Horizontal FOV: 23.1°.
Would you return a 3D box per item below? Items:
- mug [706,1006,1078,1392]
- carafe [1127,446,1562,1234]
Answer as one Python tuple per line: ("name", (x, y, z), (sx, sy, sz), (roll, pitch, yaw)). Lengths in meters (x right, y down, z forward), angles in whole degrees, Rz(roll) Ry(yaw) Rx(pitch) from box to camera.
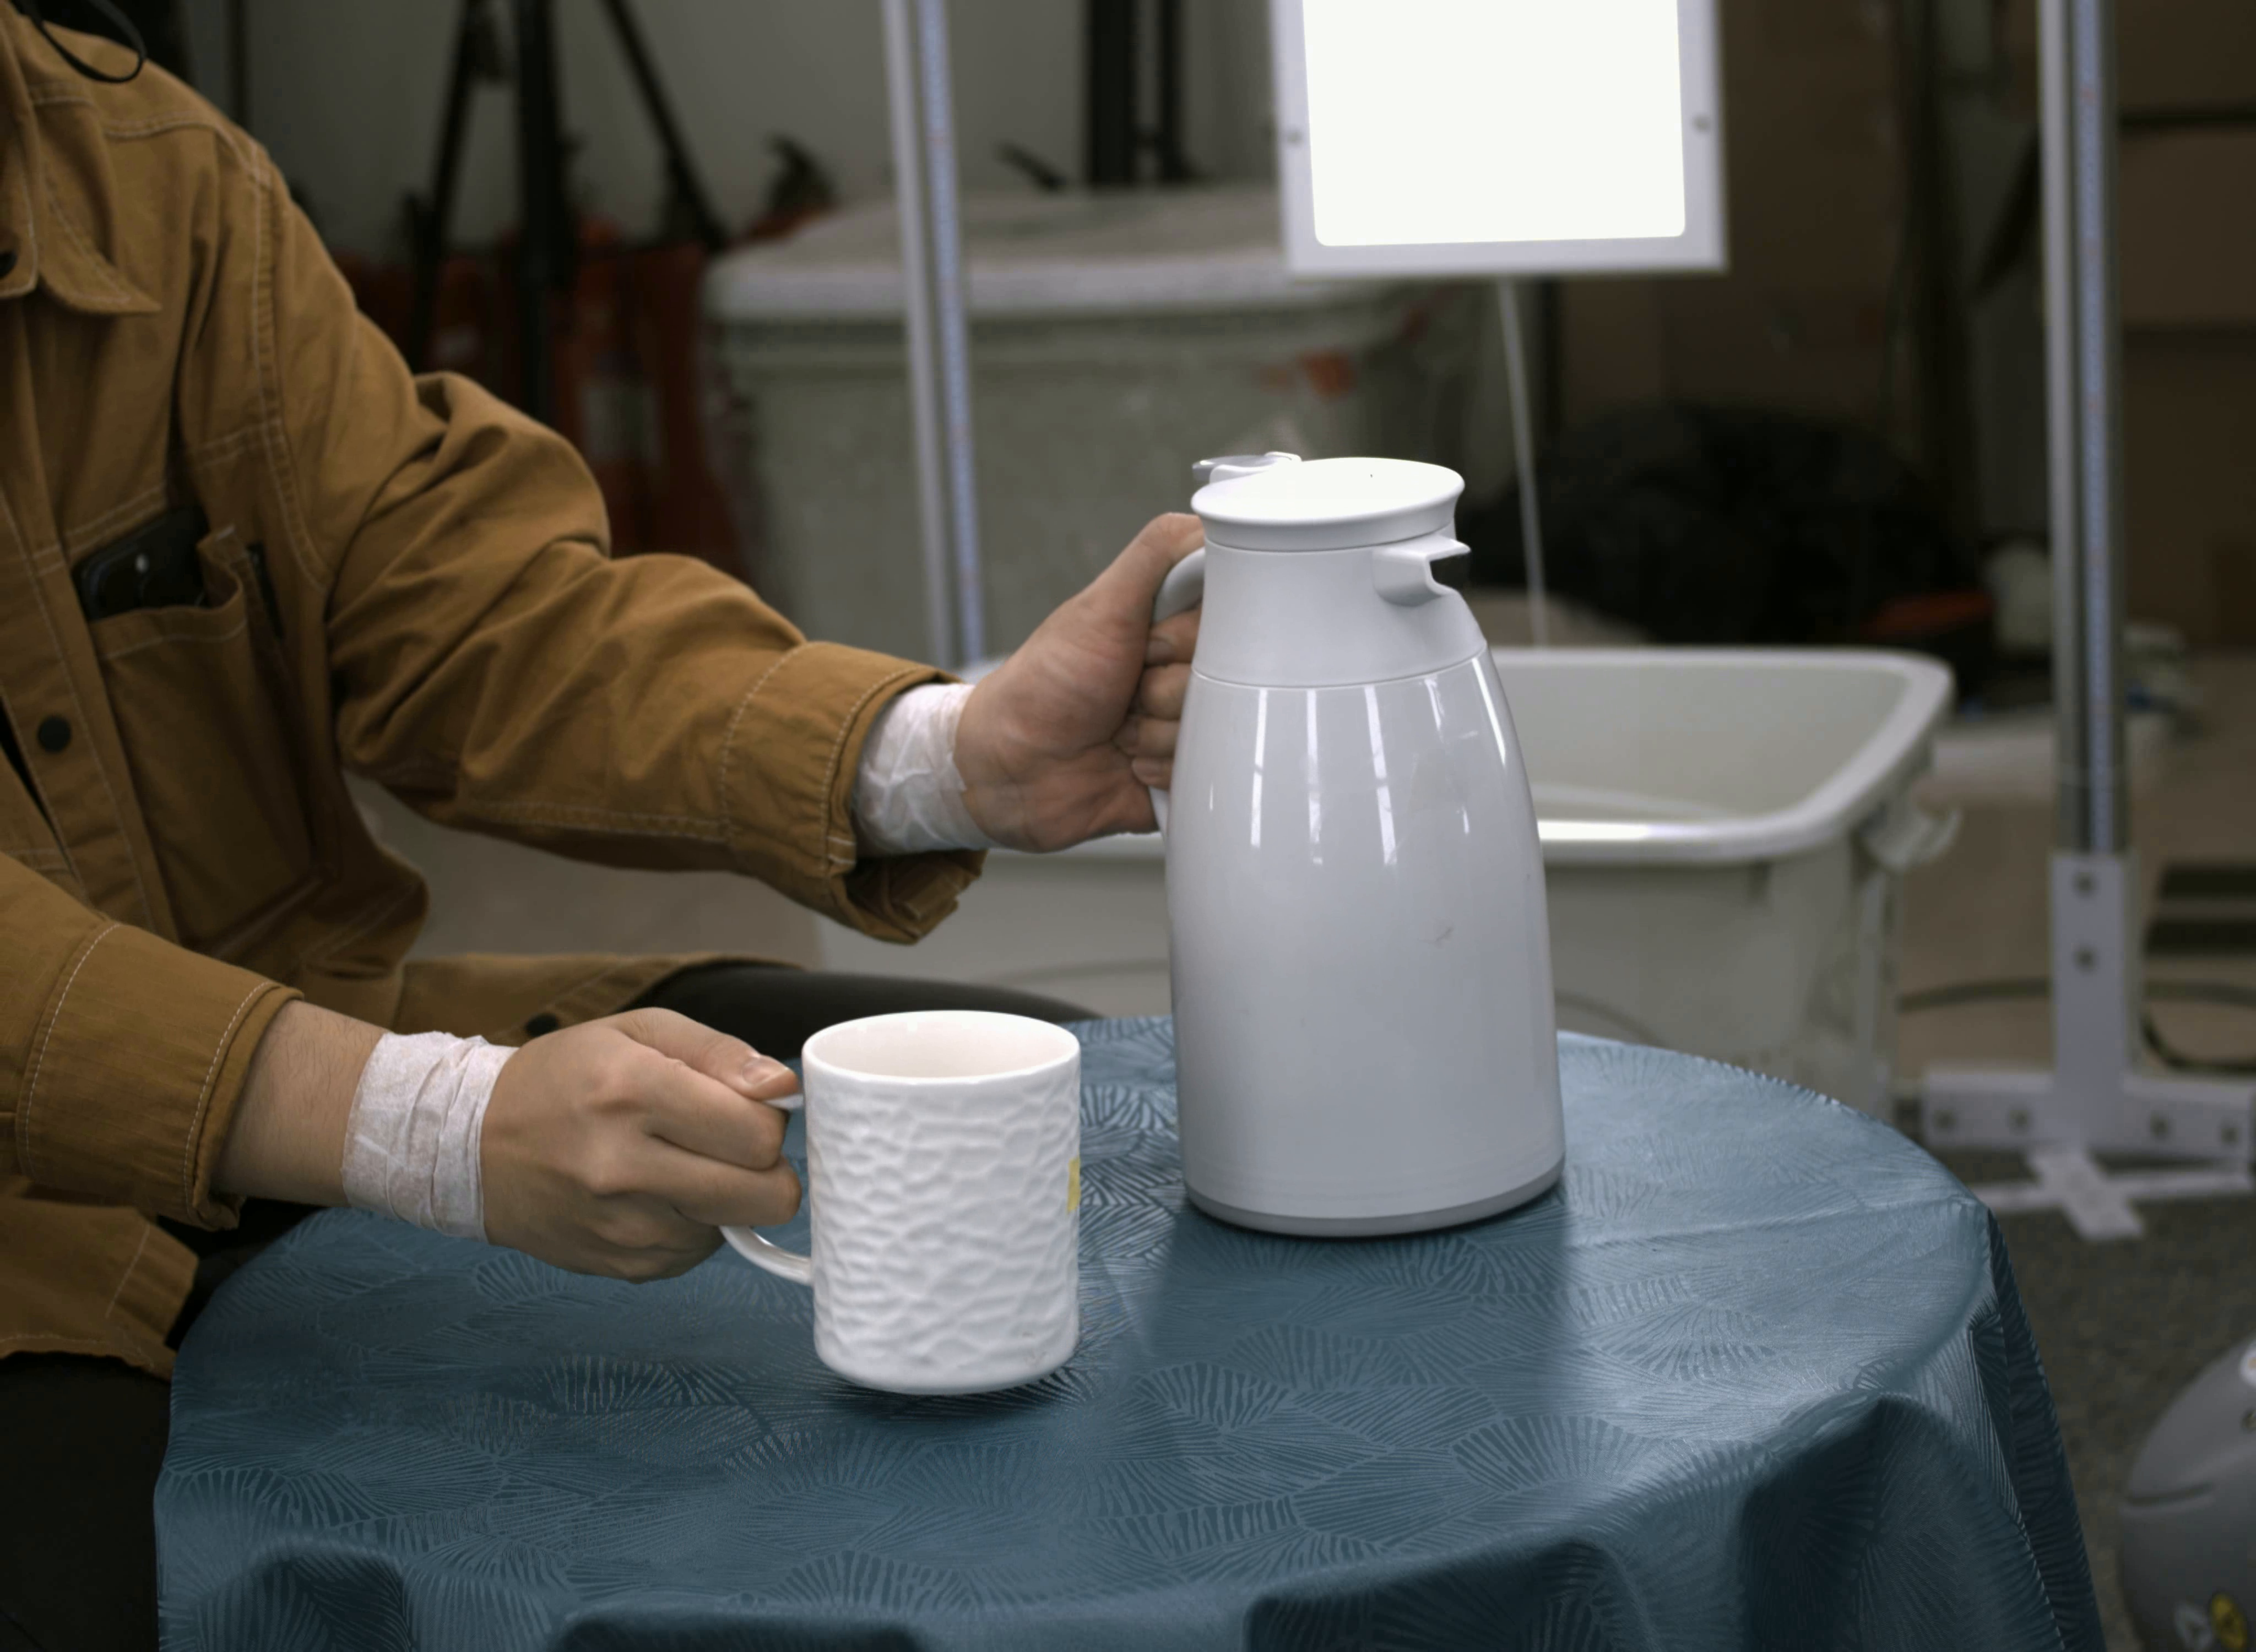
("mug", (-0.073, 0.115, 1.714), (0.119, 0.102, 0.084), (2, 13, 12))
("carafe", (0.061, -0.004, 1.865), (0.129, 0.249, 0.171), (-16, 18, -35))
